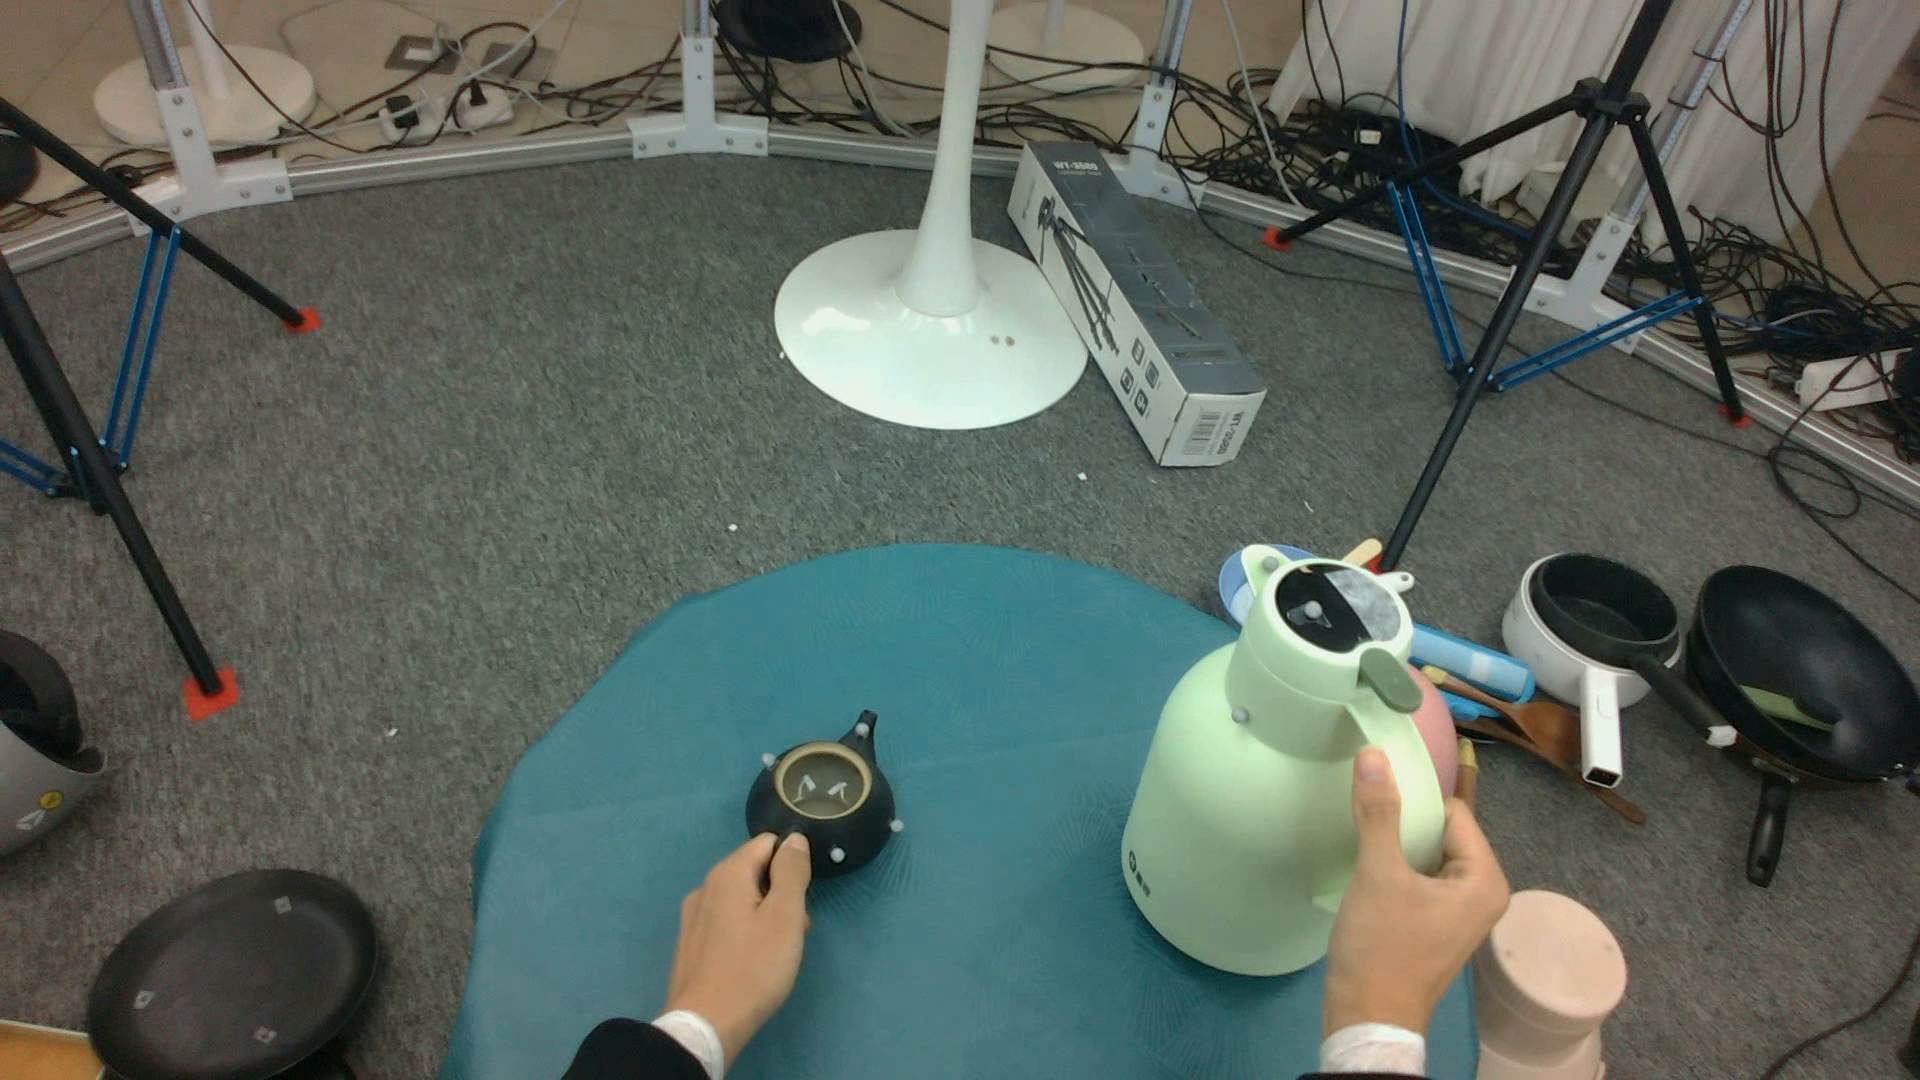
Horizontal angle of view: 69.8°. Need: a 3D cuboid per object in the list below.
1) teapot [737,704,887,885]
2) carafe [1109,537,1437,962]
[{"bbox_3d":[-0.089,0.158,0.835,0.091,0.053,0.134,19,39,13],"label":"teapot"},{"bbox_3d":[0.183,0.130,0.778,0.144,0.255,0.187,-12,50,-21],"label":"carafe"}]
